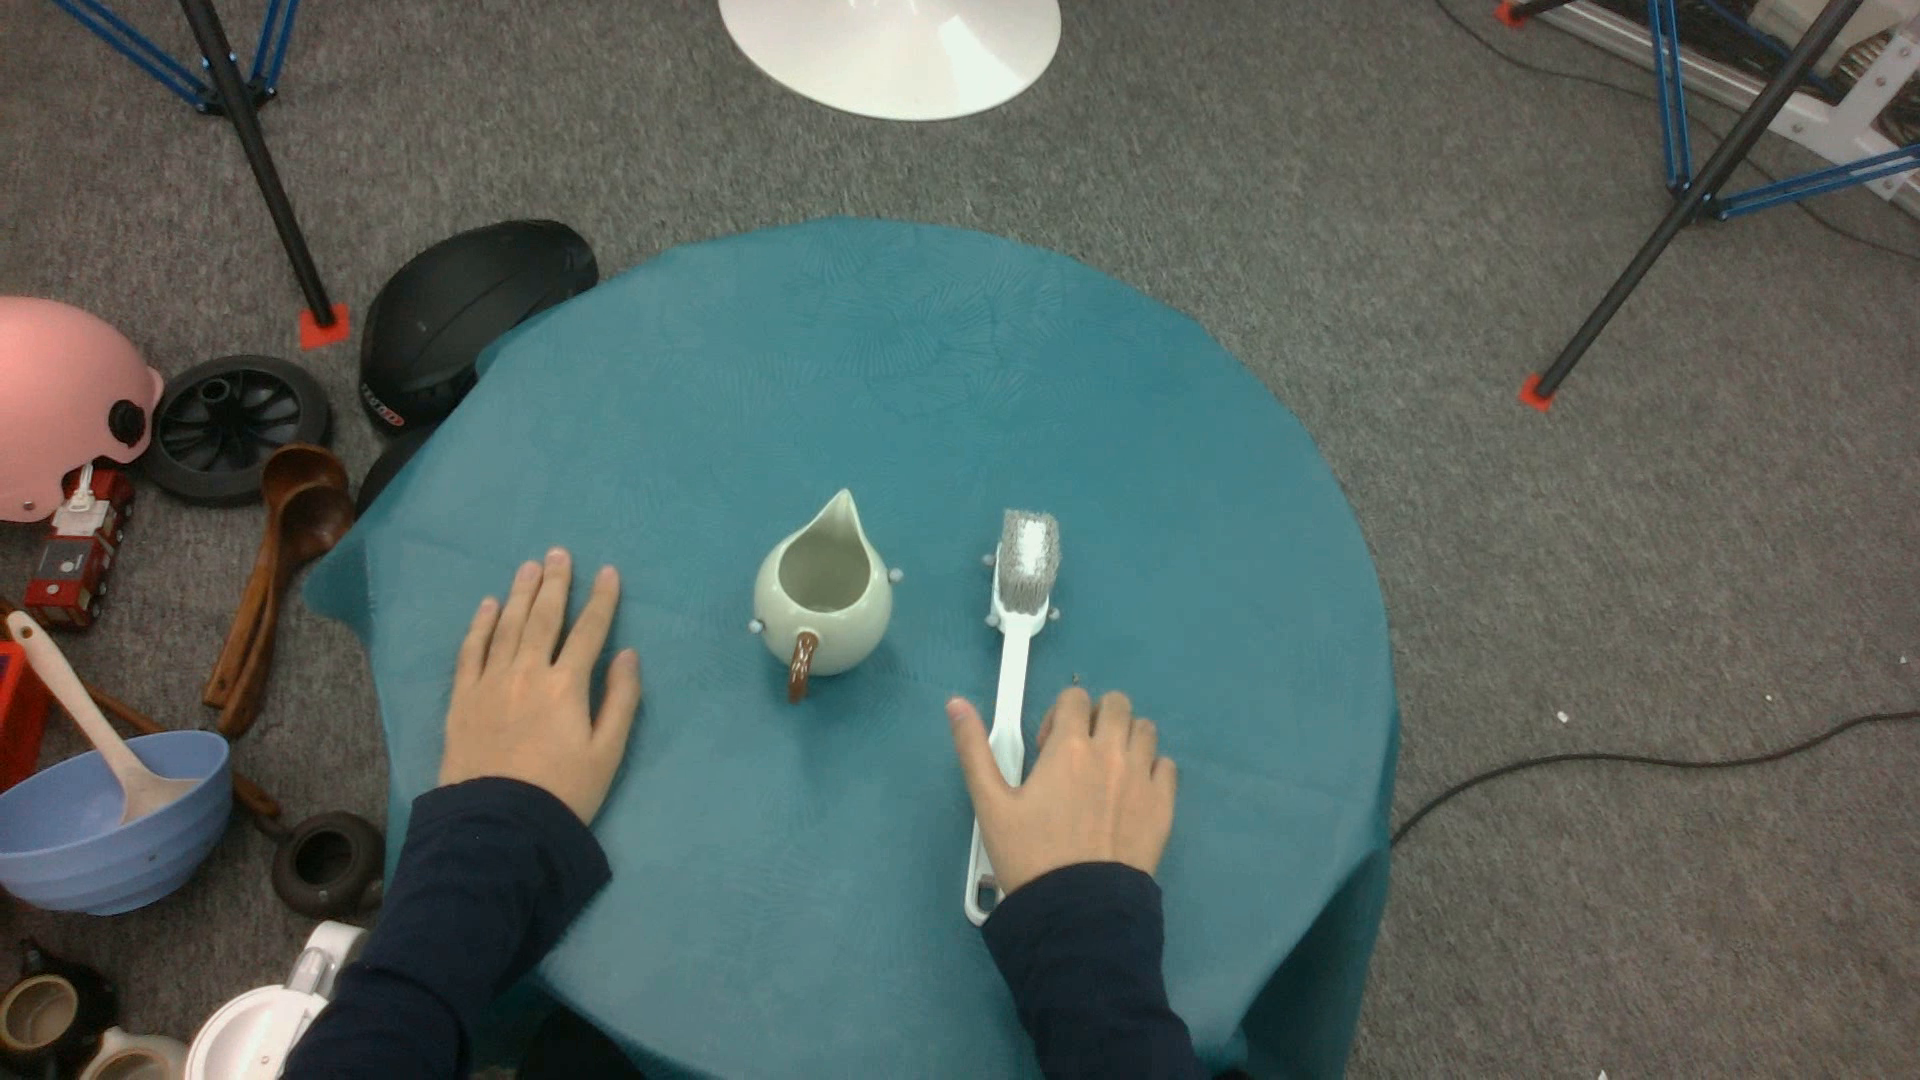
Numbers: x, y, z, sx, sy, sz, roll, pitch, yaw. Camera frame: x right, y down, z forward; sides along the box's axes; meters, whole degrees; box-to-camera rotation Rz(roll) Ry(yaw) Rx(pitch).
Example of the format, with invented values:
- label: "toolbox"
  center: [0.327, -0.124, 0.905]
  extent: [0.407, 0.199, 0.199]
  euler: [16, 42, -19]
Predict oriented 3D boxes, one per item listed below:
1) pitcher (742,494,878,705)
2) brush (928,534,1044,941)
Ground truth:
- label: "pitcher"
  center: [-0.086, 0.047, 0.771]
  extent: [0.076, 0.087, 0.120]
  euler: [11, 53, 4]
- label: "brush"
  center: [0.016, 0.101, 0.776]
  extent: [0.034, 0.050, 0.245]
  euler: [14, 55, -5]
